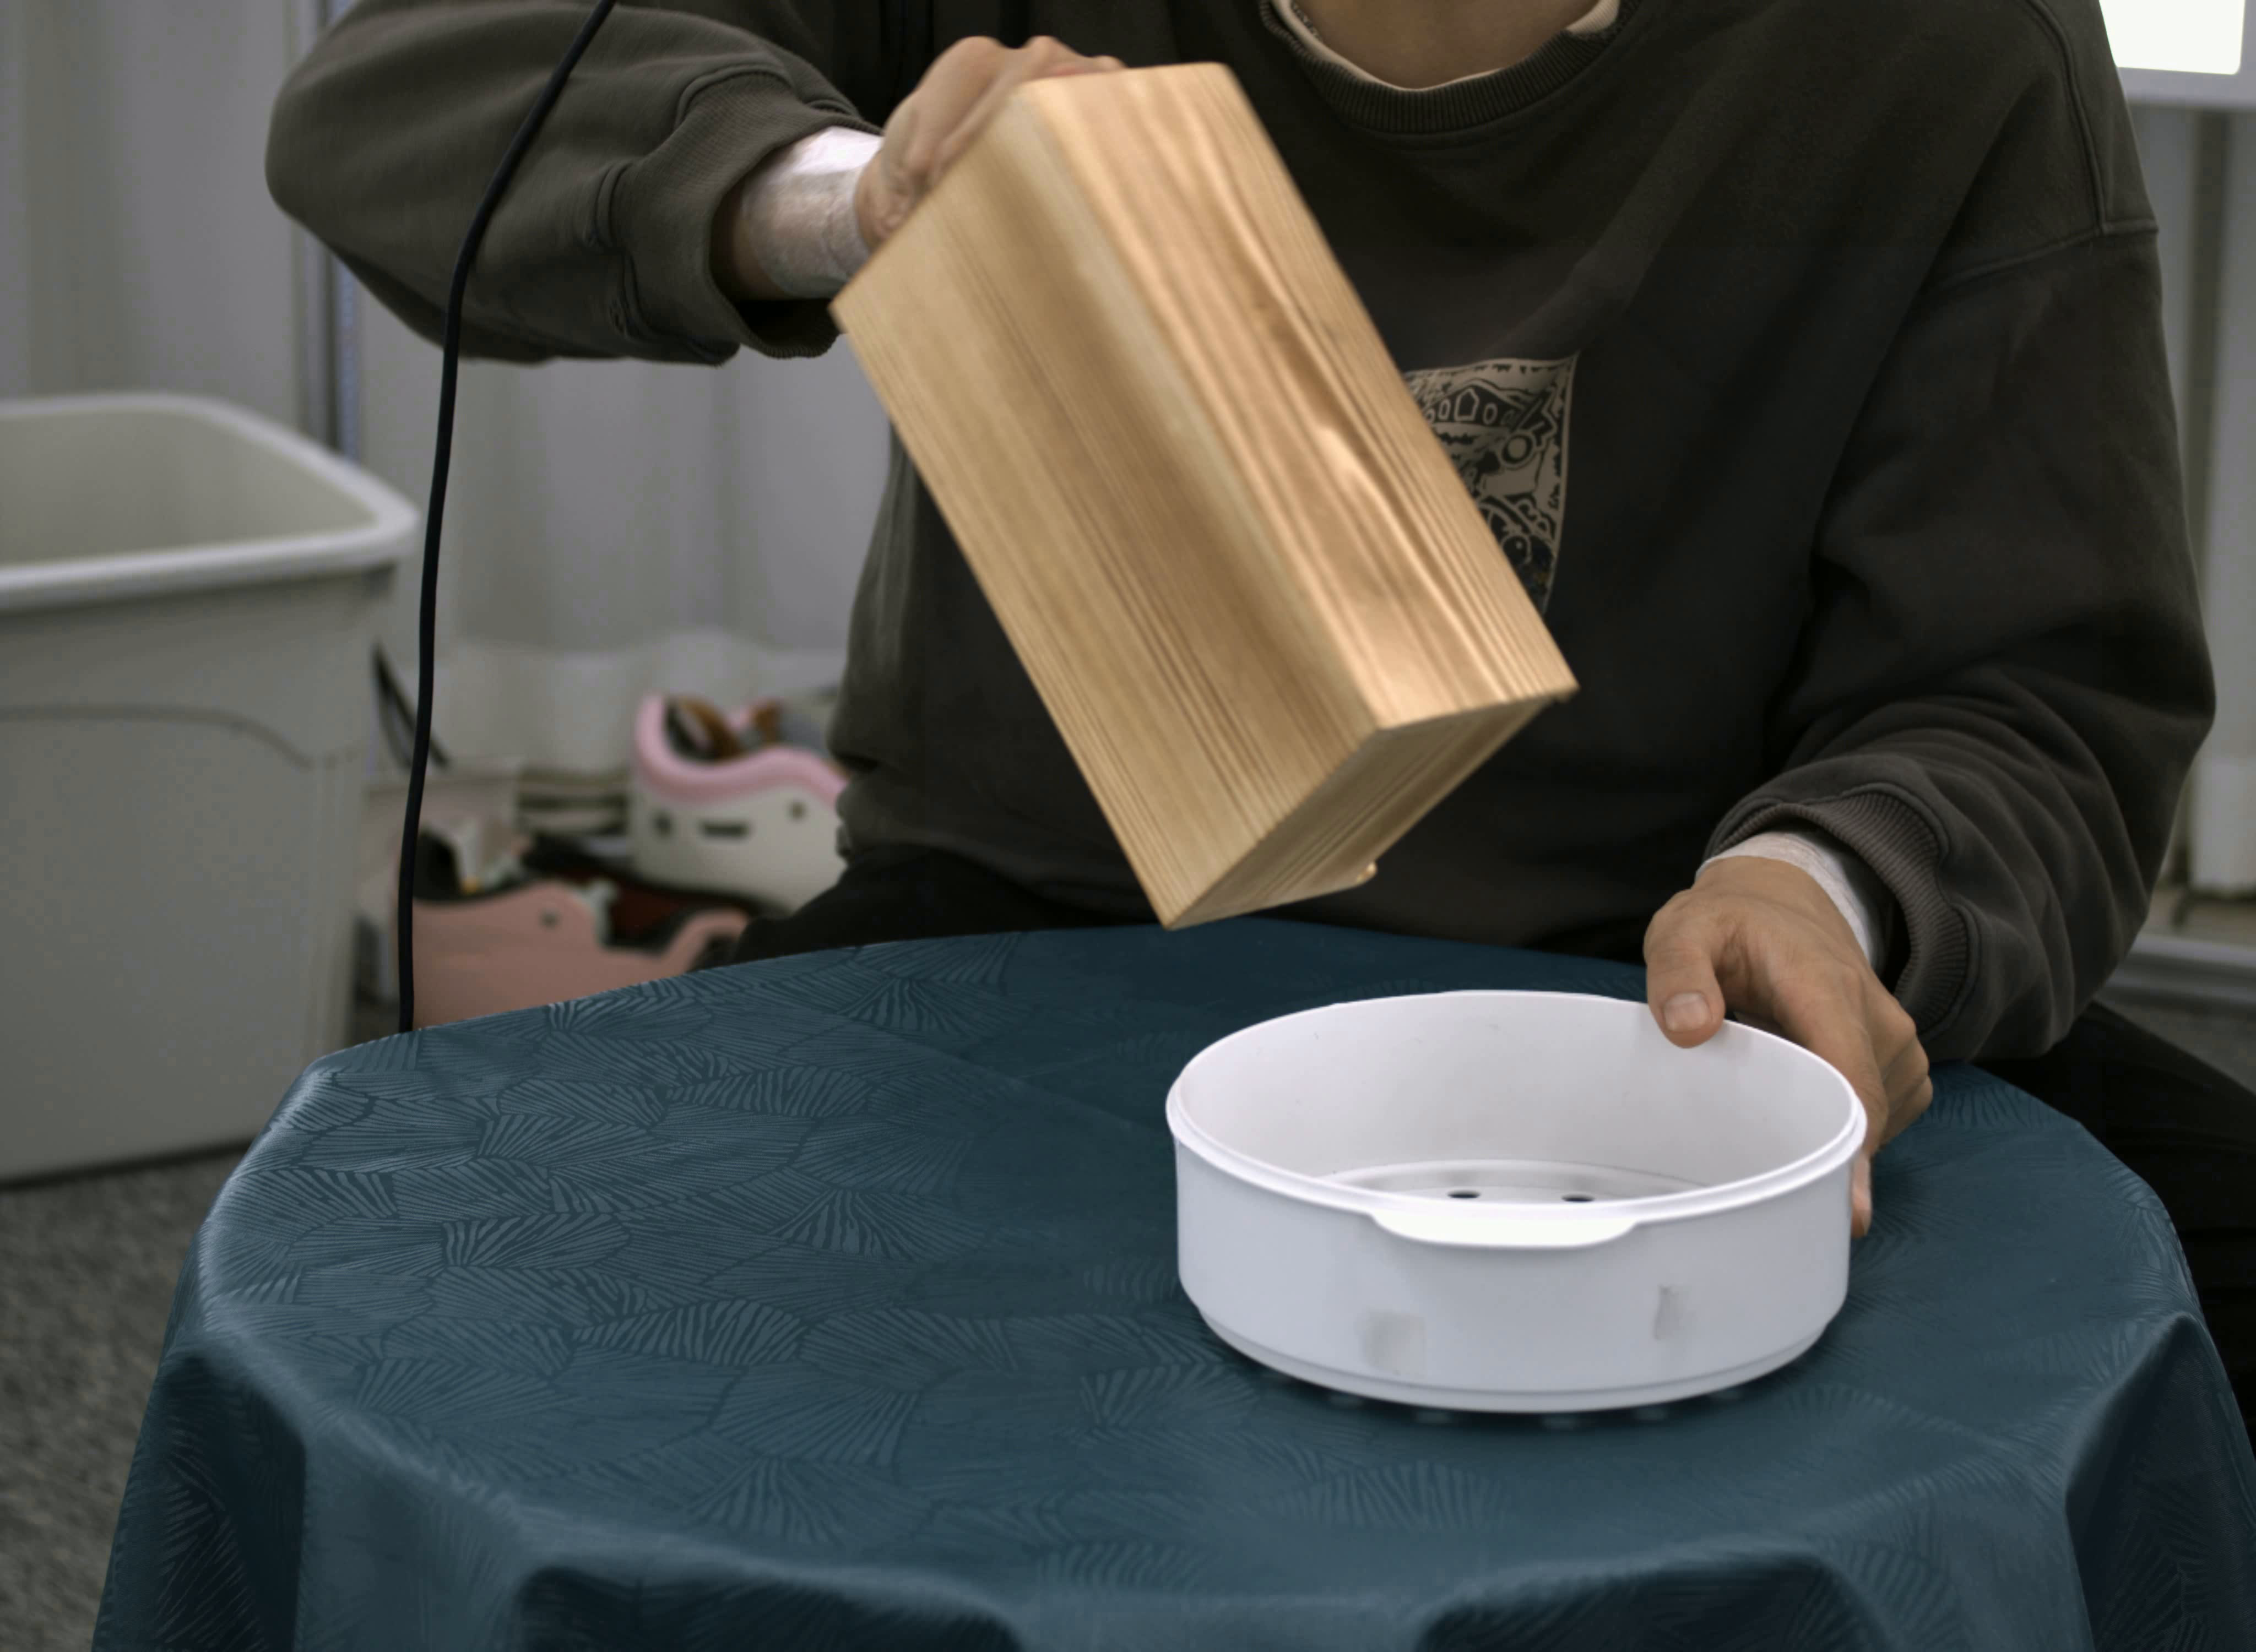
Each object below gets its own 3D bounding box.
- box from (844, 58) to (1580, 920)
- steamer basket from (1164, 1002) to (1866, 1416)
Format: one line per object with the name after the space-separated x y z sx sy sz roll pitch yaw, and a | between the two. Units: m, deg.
0.020 -0.095 1.452 0.080 0.210 0.107 -11 -23 -45 | box
0.110 0.109 1.518 0.201 0.070 0.230 2 15 5 | steamer basket
